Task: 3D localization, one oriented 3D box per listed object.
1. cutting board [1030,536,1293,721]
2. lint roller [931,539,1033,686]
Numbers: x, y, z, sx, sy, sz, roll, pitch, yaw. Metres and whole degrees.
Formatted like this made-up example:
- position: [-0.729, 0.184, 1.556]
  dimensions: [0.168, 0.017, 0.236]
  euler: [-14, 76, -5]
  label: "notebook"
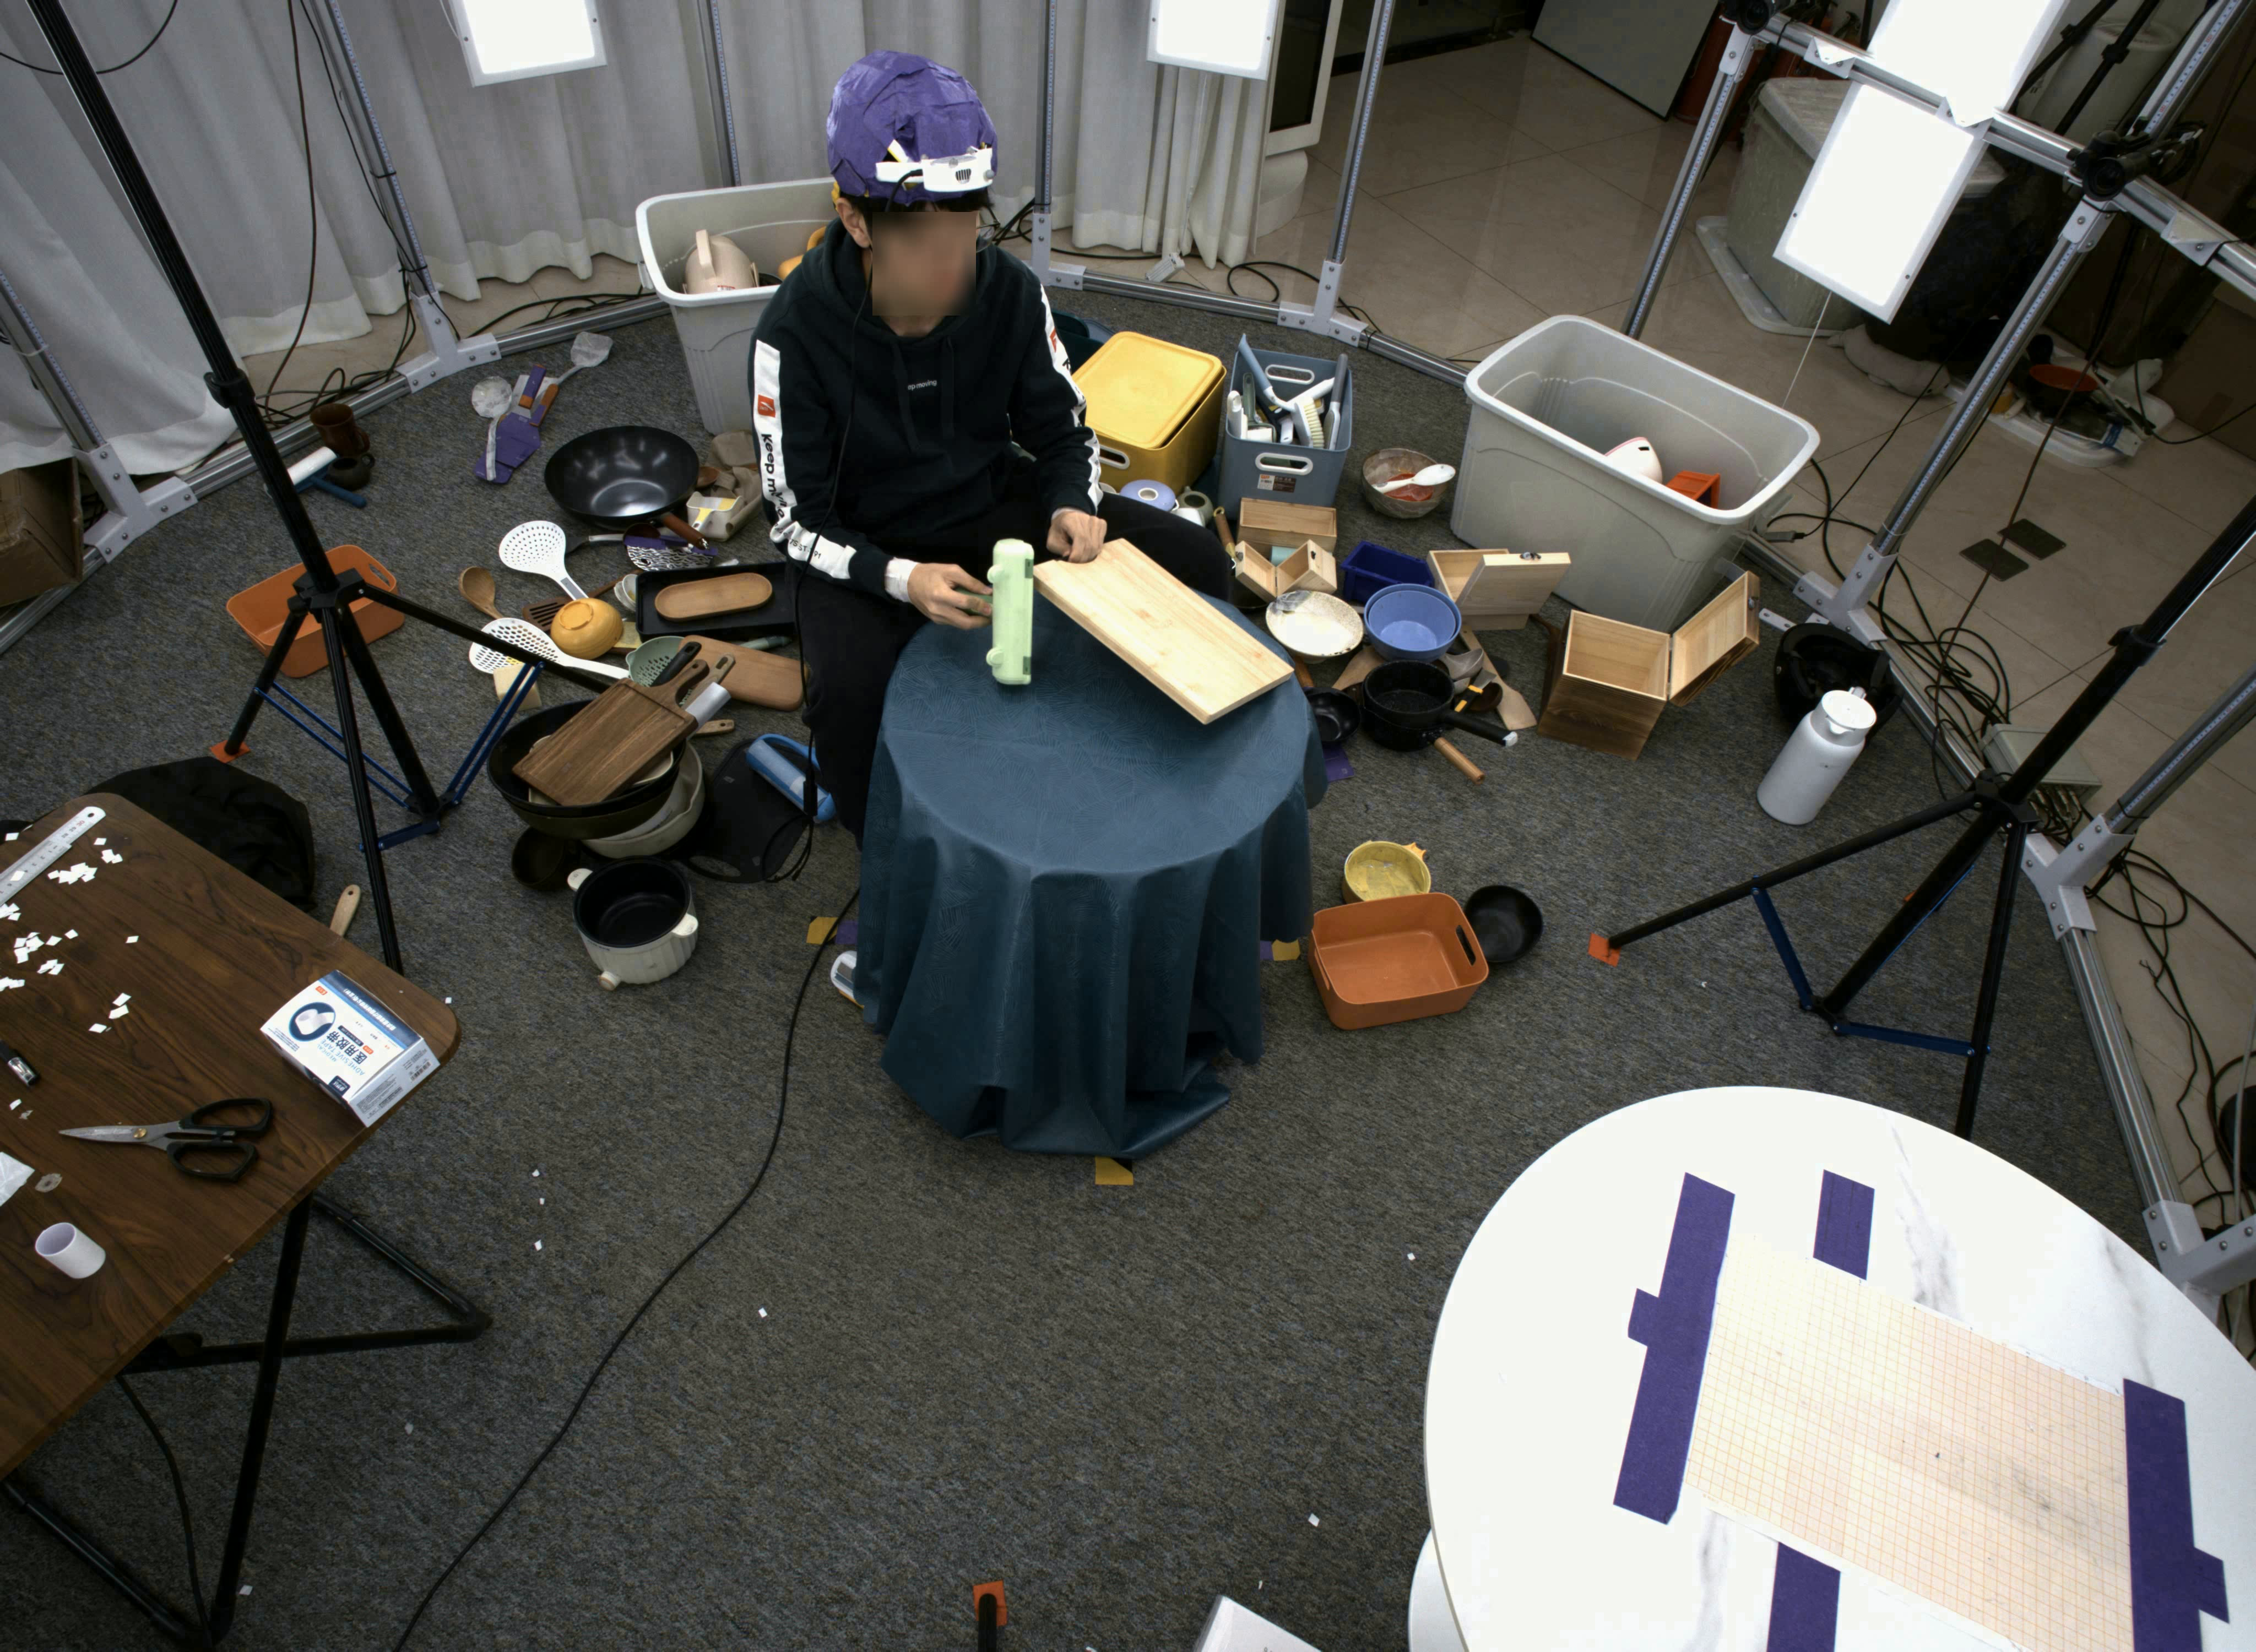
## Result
- position: [0.044, -0.288, 1.830]
  dimensions: [0.352, 0.023, 0.253]
  euler: [40, 38, 16]
  label: "cutting board"
- position: [-0.213, -0.304, 1.798]
  dimensions: [0.184, 0.195, 0.083]
  euler: [13, 23, 23]
  label: "lint roller"
